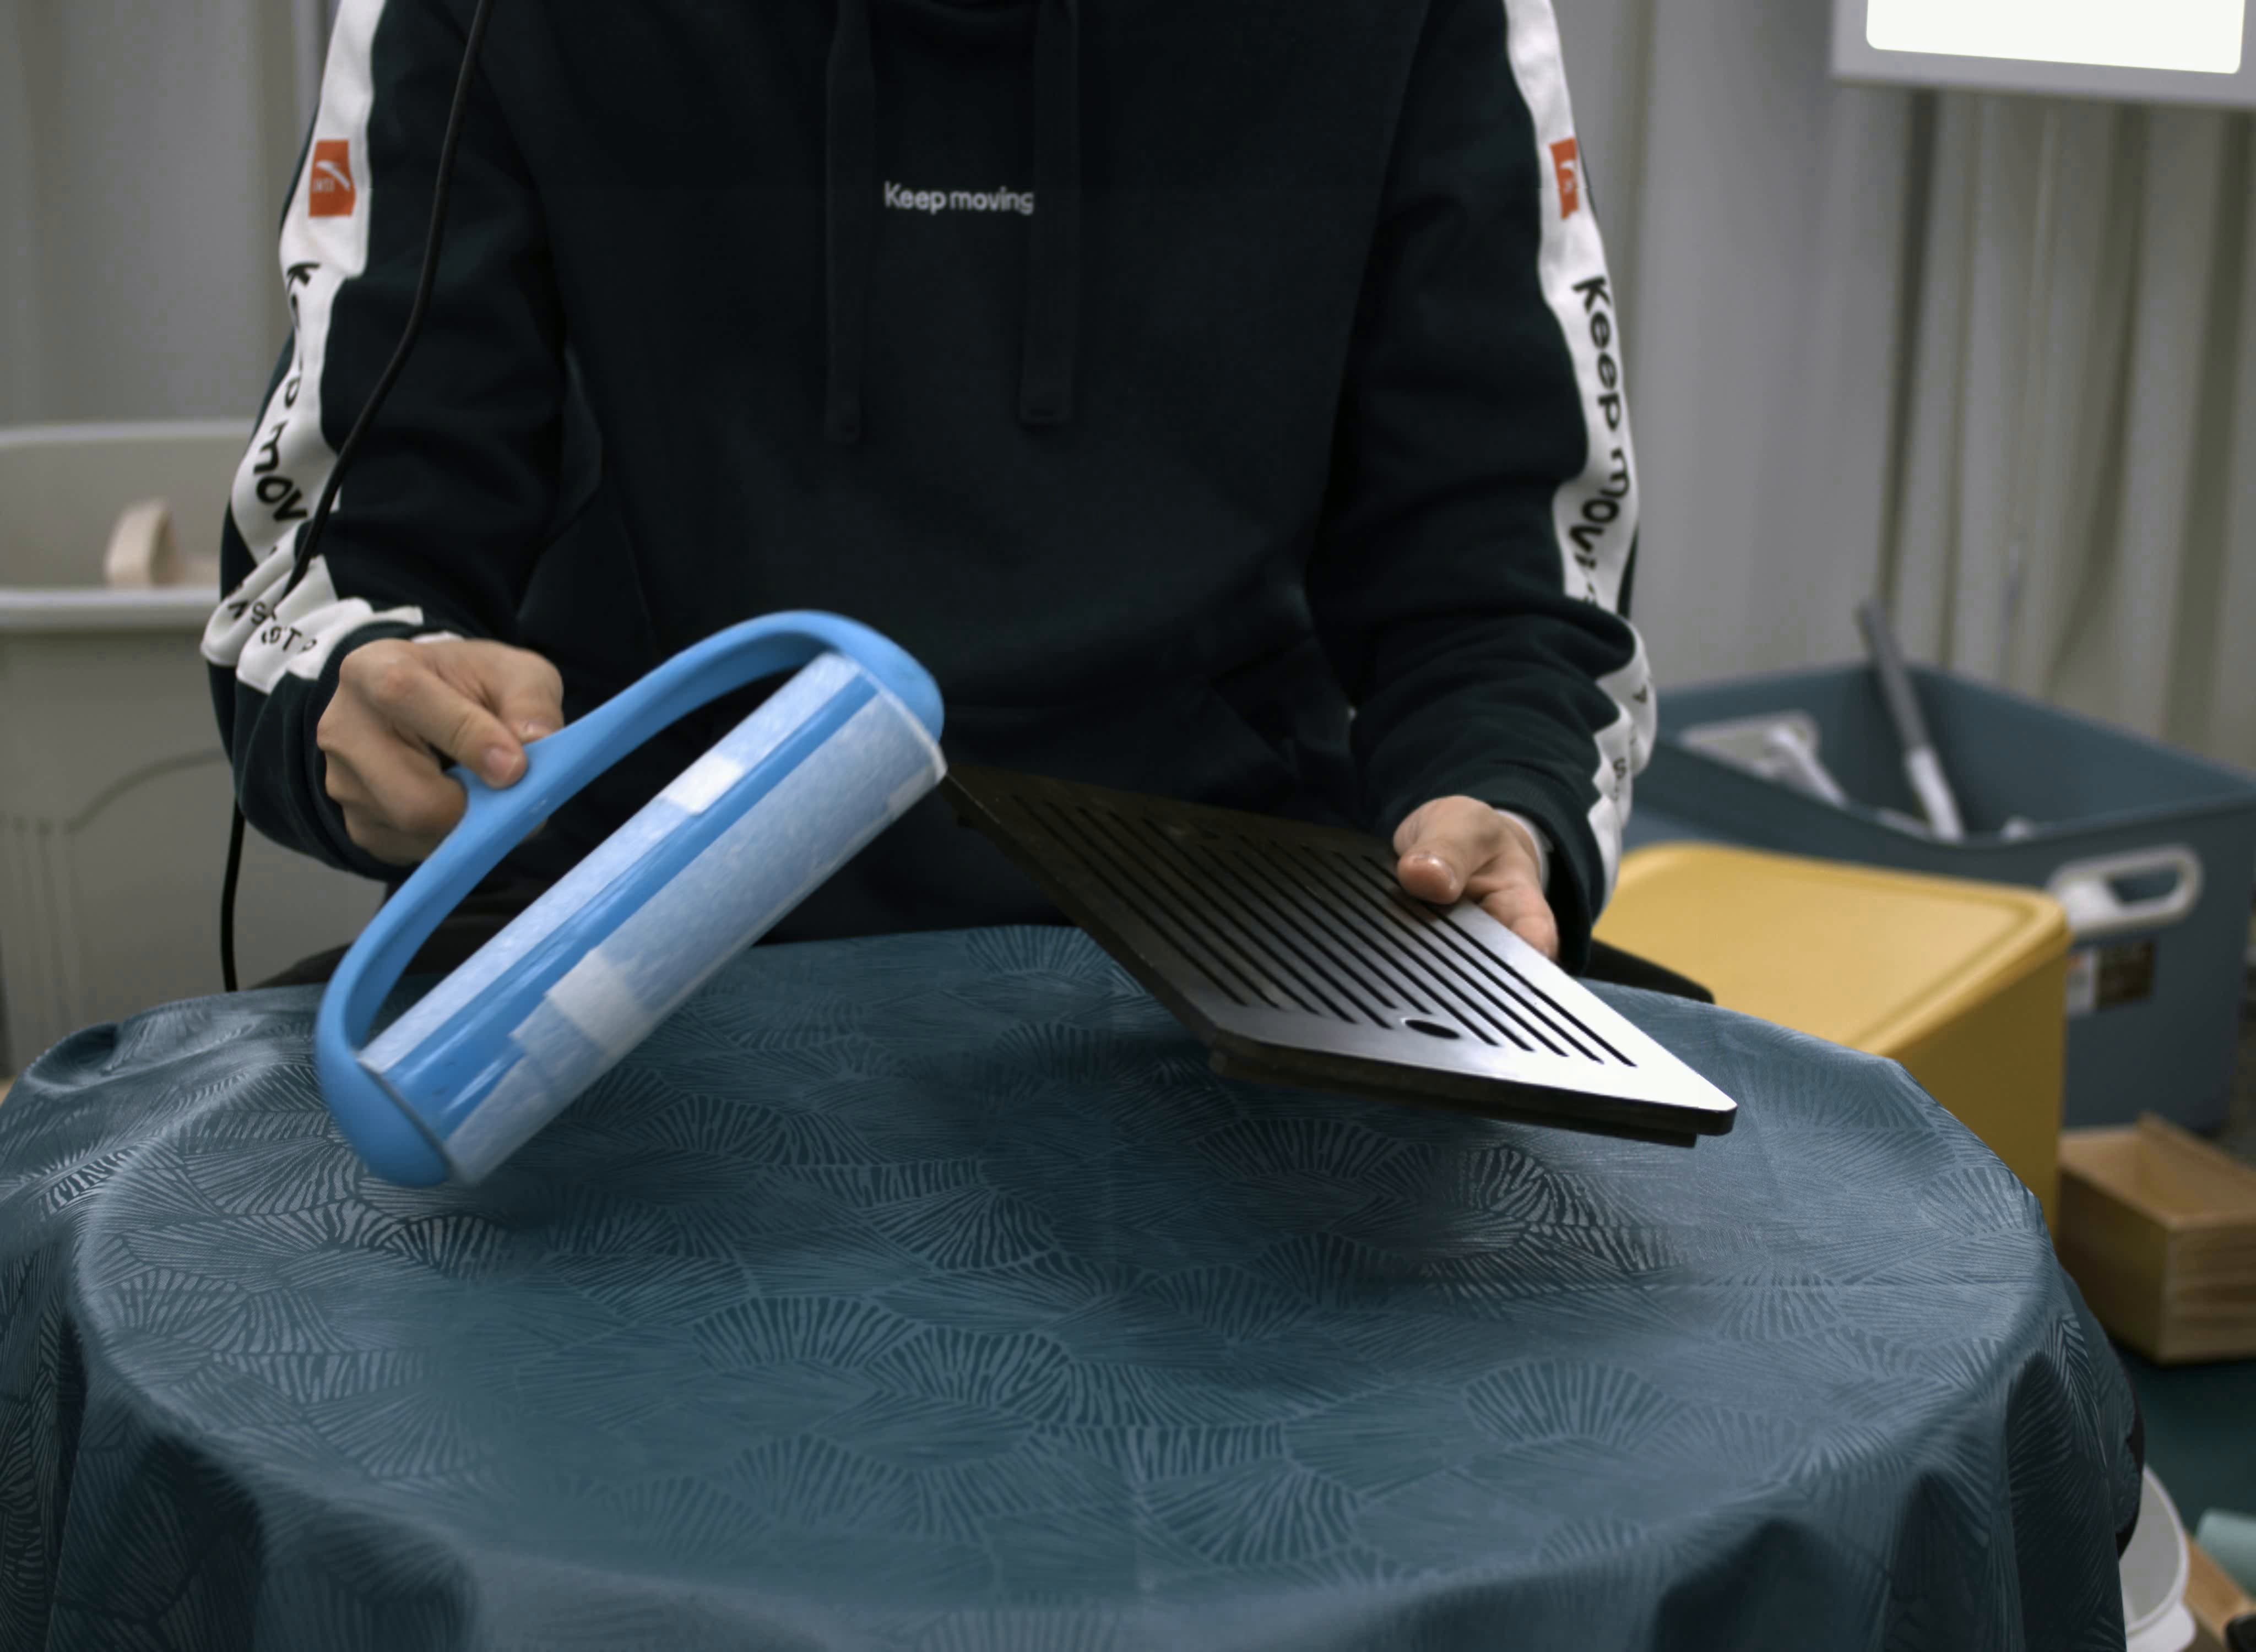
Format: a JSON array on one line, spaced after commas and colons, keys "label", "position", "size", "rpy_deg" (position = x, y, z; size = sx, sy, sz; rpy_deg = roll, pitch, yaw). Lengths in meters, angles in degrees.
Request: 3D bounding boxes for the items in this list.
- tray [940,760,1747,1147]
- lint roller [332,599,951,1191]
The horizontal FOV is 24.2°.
[{"label": "tray", "position": [0.059, 0.038, 1.643], "size": [0.171, 0.019, 0.302], "rpy_deg": [10, 12, -22]}, {"label": "lint roller", "position": [-0.177, 0.005, 1.636], "size": [0.229, 0.069, 0.178], "rpy_deg": [-46, 41, -15]}]
